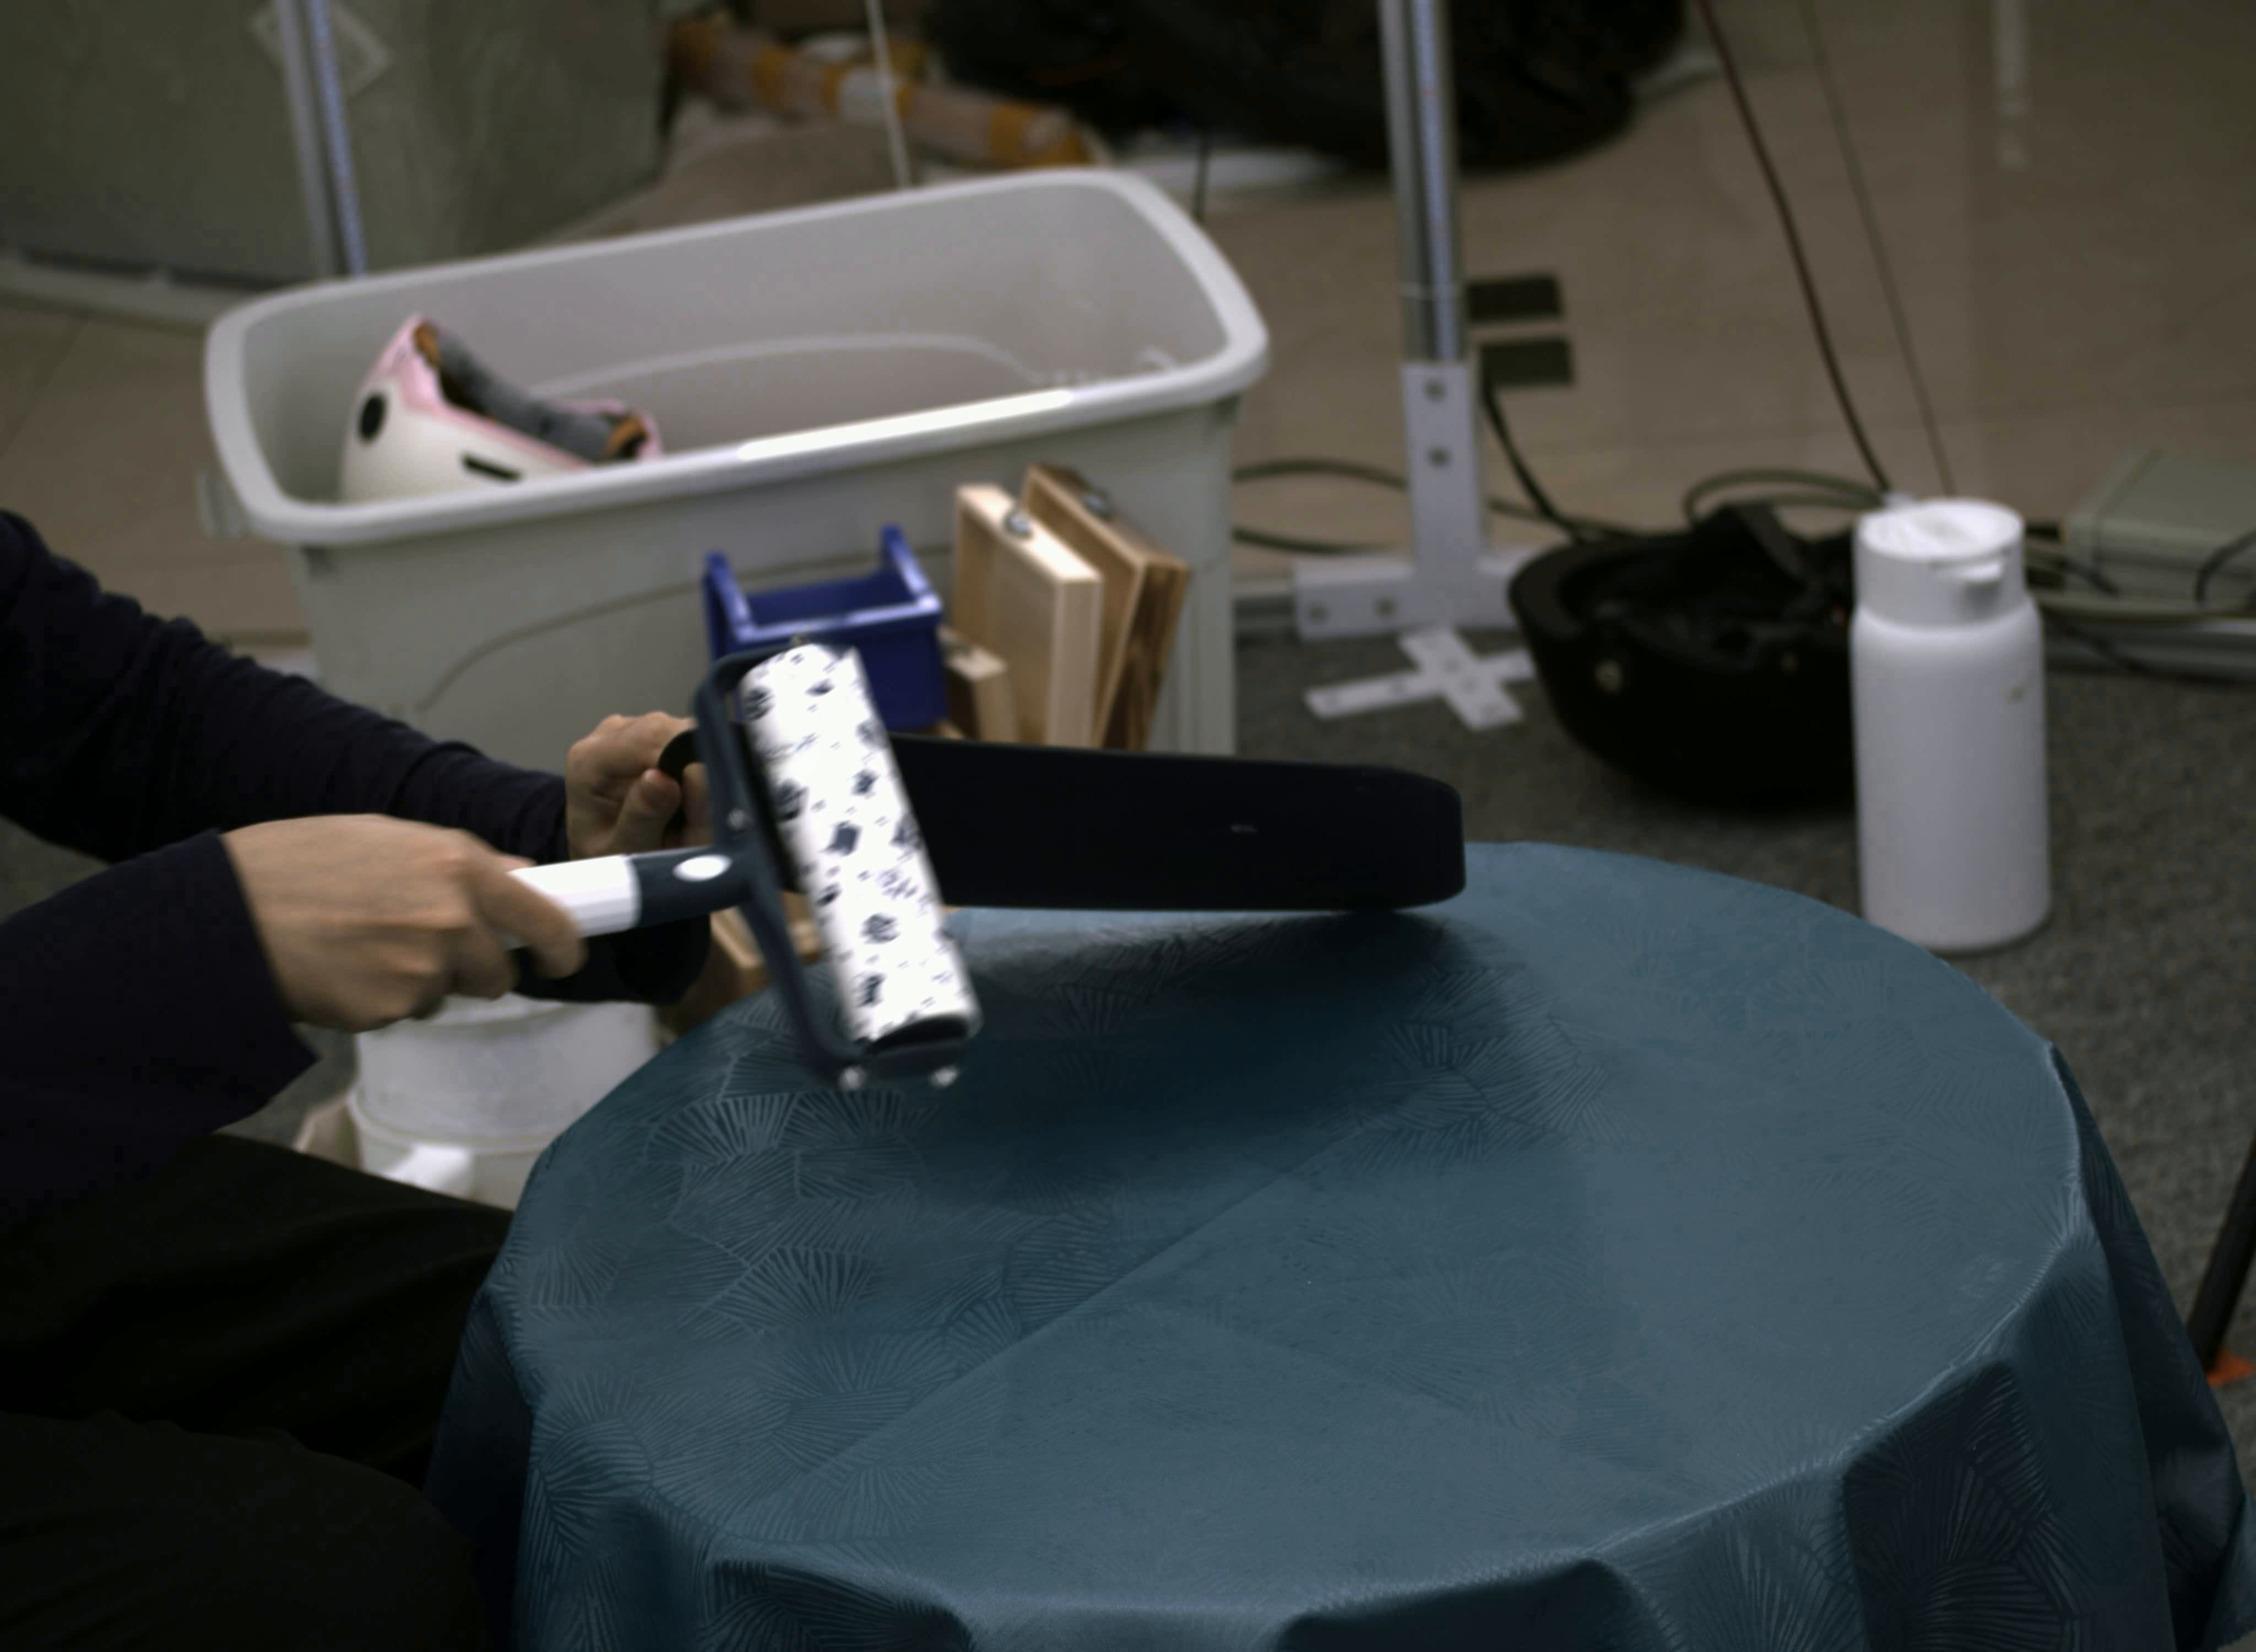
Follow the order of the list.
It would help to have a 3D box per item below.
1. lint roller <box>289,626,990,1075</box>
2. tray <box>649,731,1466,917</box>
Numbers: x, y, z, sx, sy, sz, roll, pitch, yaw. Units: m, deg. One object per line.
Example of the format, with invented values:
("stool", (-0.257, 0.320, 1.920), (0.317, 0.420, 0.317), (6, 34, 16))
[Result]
("lint roller", (-0.186, 0.023, 2.083), (0.246, 0.051, 0.174), (-11, 68, -23))
("tray", (-0.029, -0.002, 2.259), (0.325, 0.010, 0.213), (3, -17, 6))
